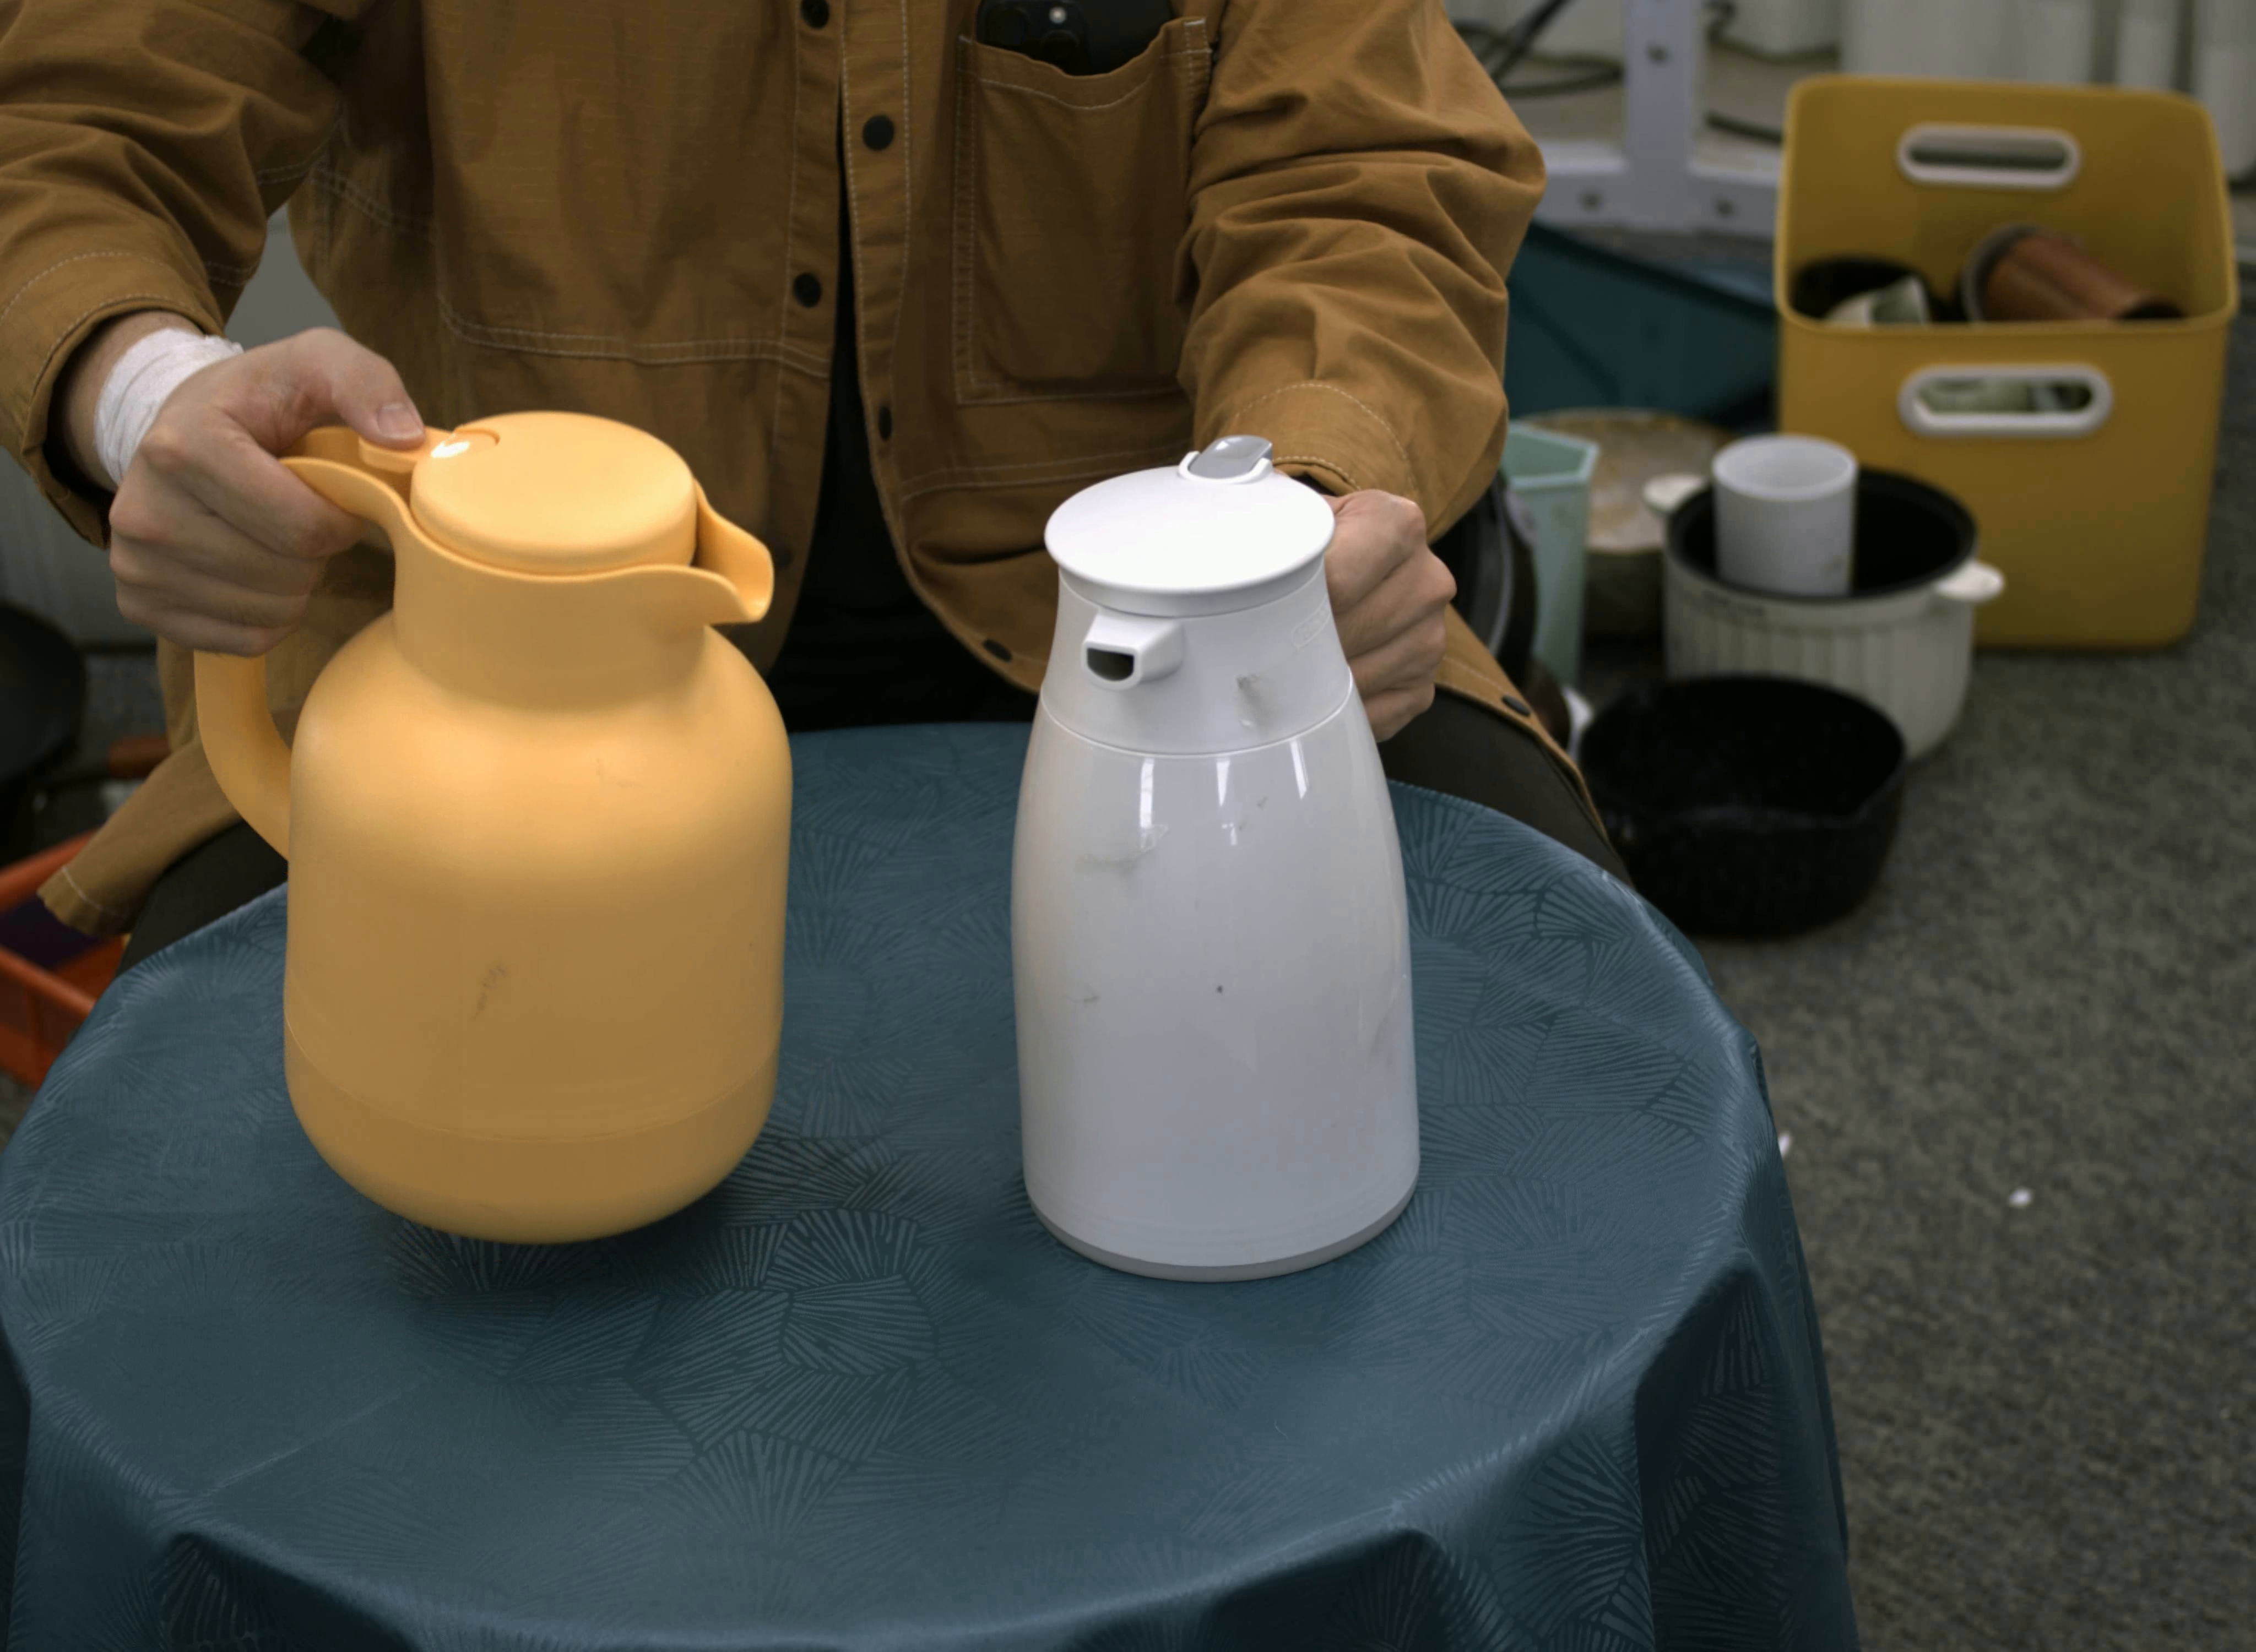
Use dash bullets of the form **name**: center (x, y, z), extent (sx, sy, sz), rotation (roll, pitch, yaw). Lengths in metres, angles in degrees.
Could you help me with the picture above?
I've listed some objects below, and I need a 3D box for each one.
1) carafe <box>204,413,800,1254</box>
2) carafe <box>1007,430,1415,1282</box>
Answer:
- **carafe**: center (-0.203, -0.008, 1.810), extent (0.201, 0.257, 0.166), rotation (17, 30, 18)
- **carafe**: center (0.031, -0.001, 1.828), extent (0.131, 0.246, 0.170), rotation (8, 28, 22)
